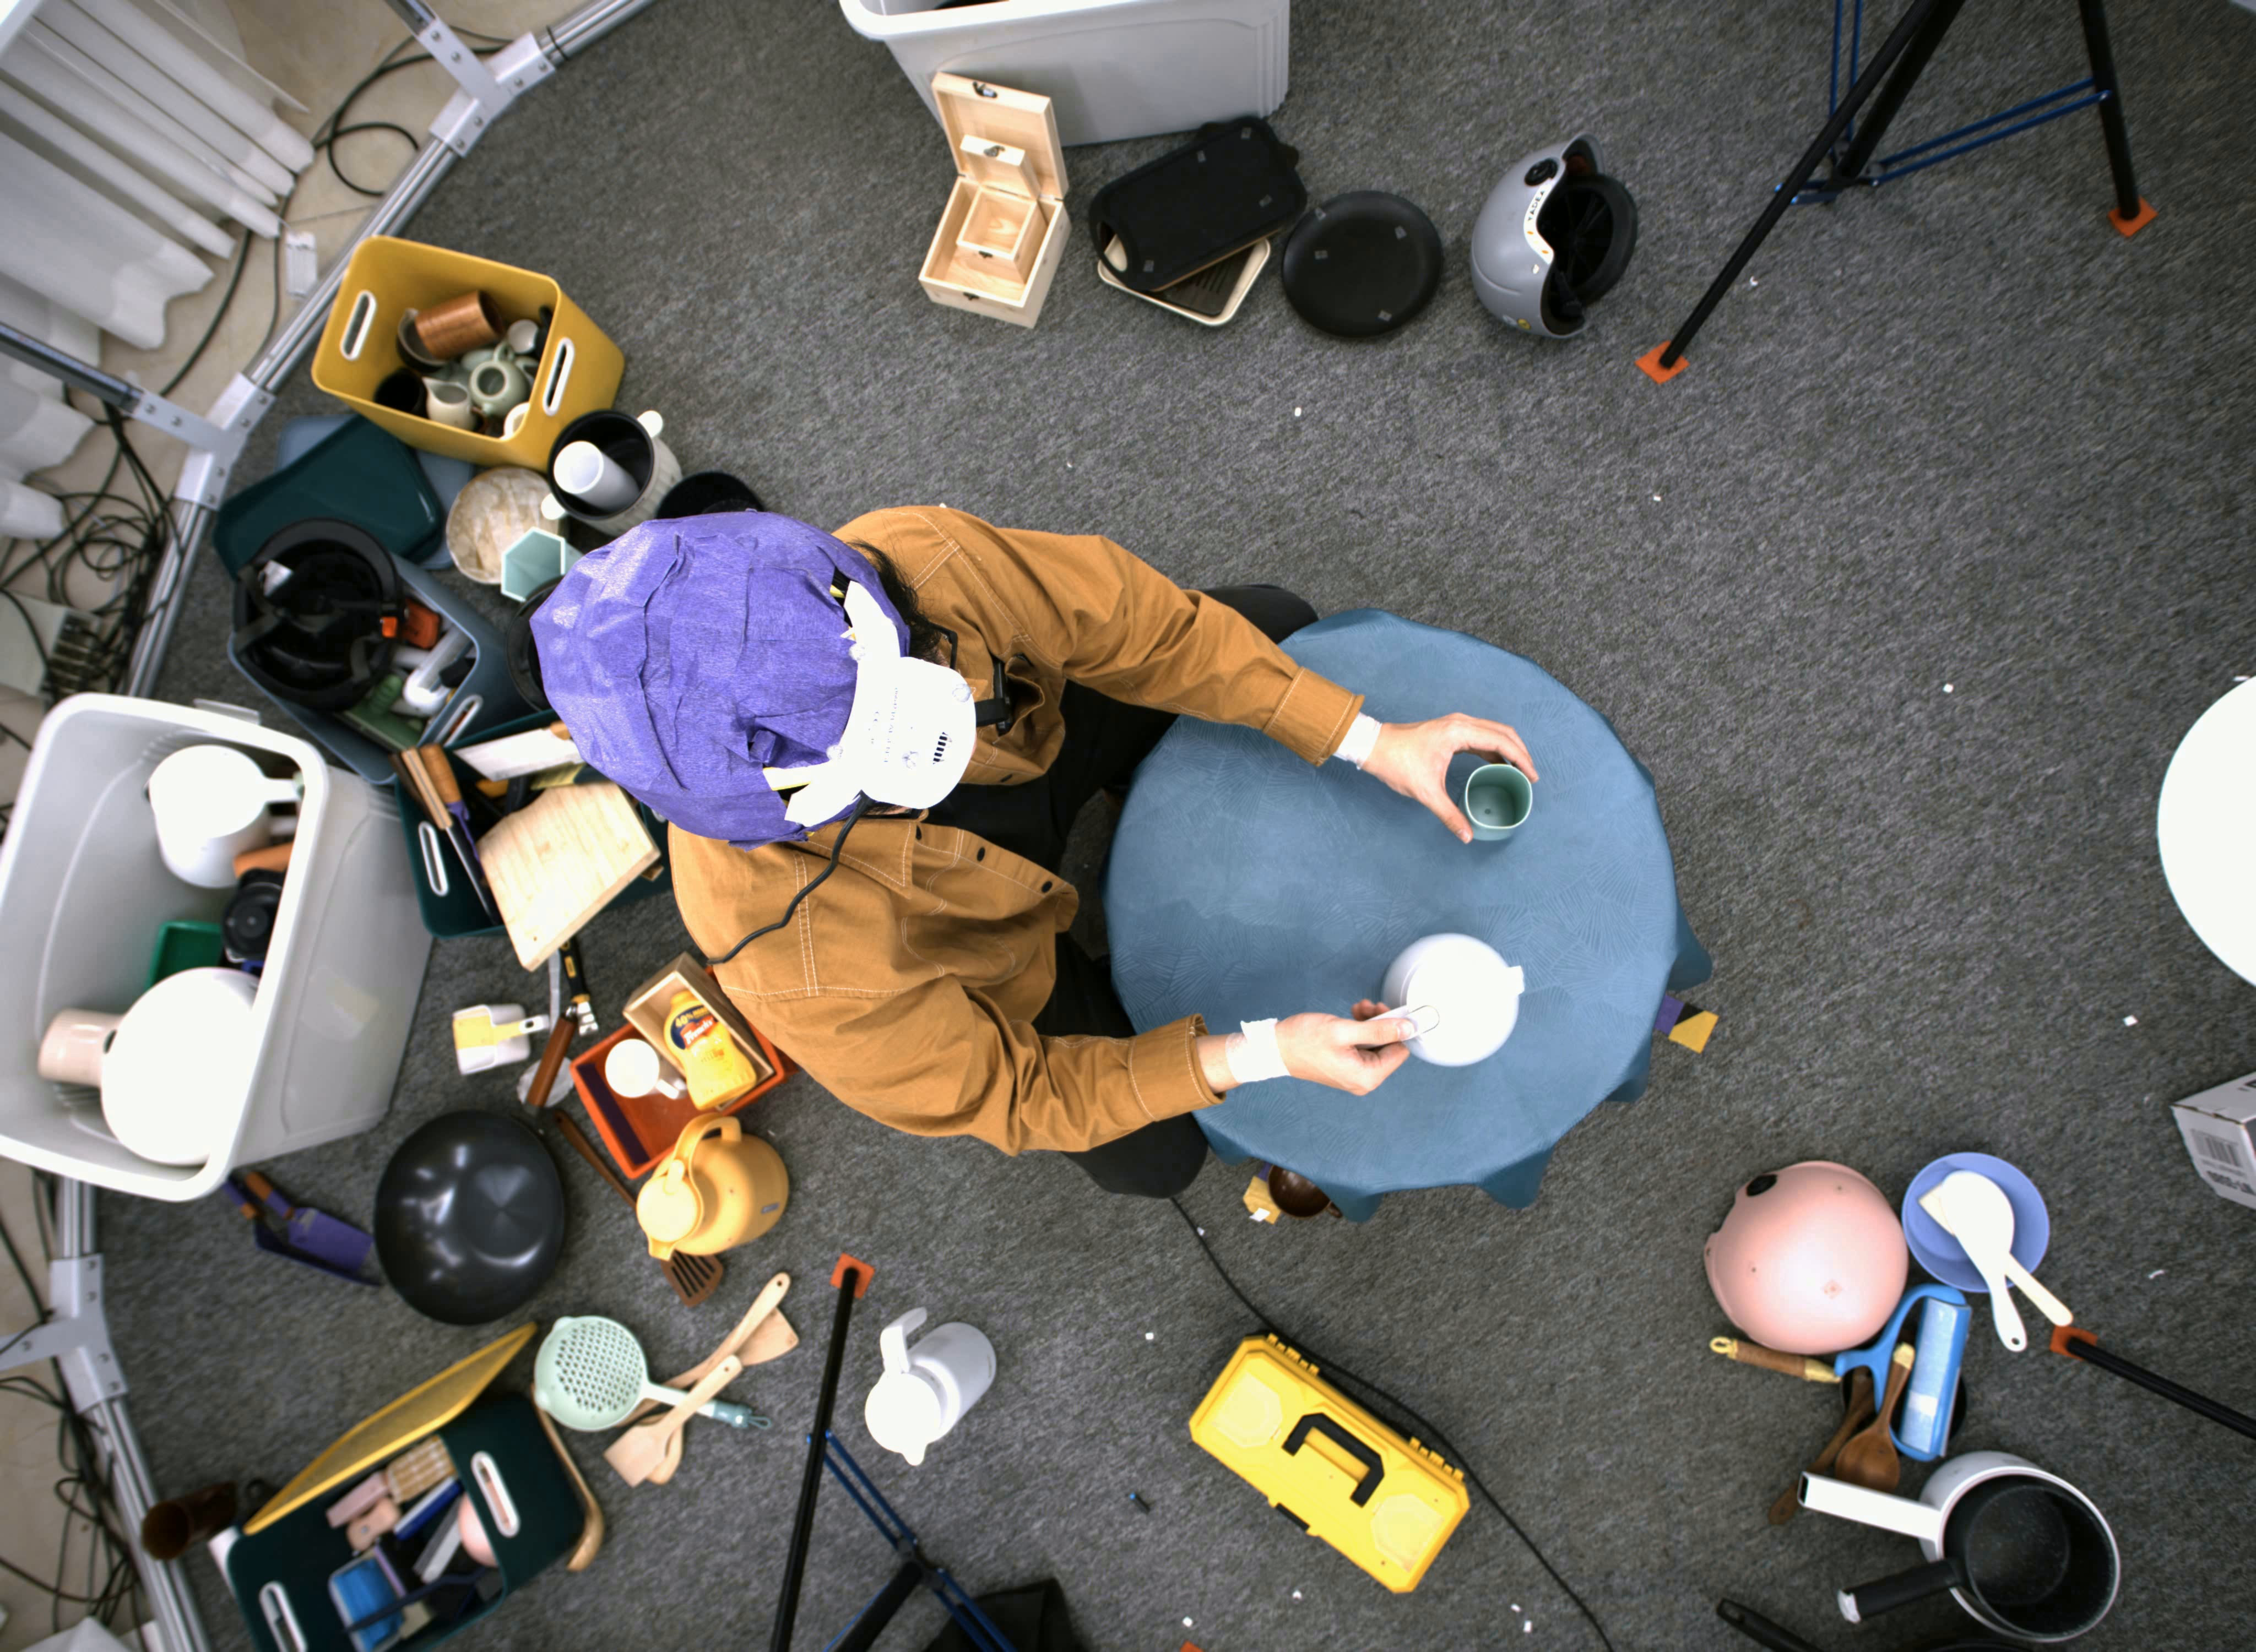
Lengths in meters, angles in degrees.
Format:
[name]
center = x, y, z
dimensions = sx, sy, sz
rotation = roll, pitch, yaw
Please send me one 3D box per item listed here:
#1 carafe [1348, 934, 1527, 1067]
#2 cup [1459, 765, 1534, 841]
[carafe]
center = 0.293, 0.175, 1.326
dimensions = 0.169, 0.249, 0.131
rotation = -23, 82, 8
[cup]
center = 0.367, -0.024, 1.384
dimensions = 0.067, 0.132, 0.066
rotation = -1, 85, 10
